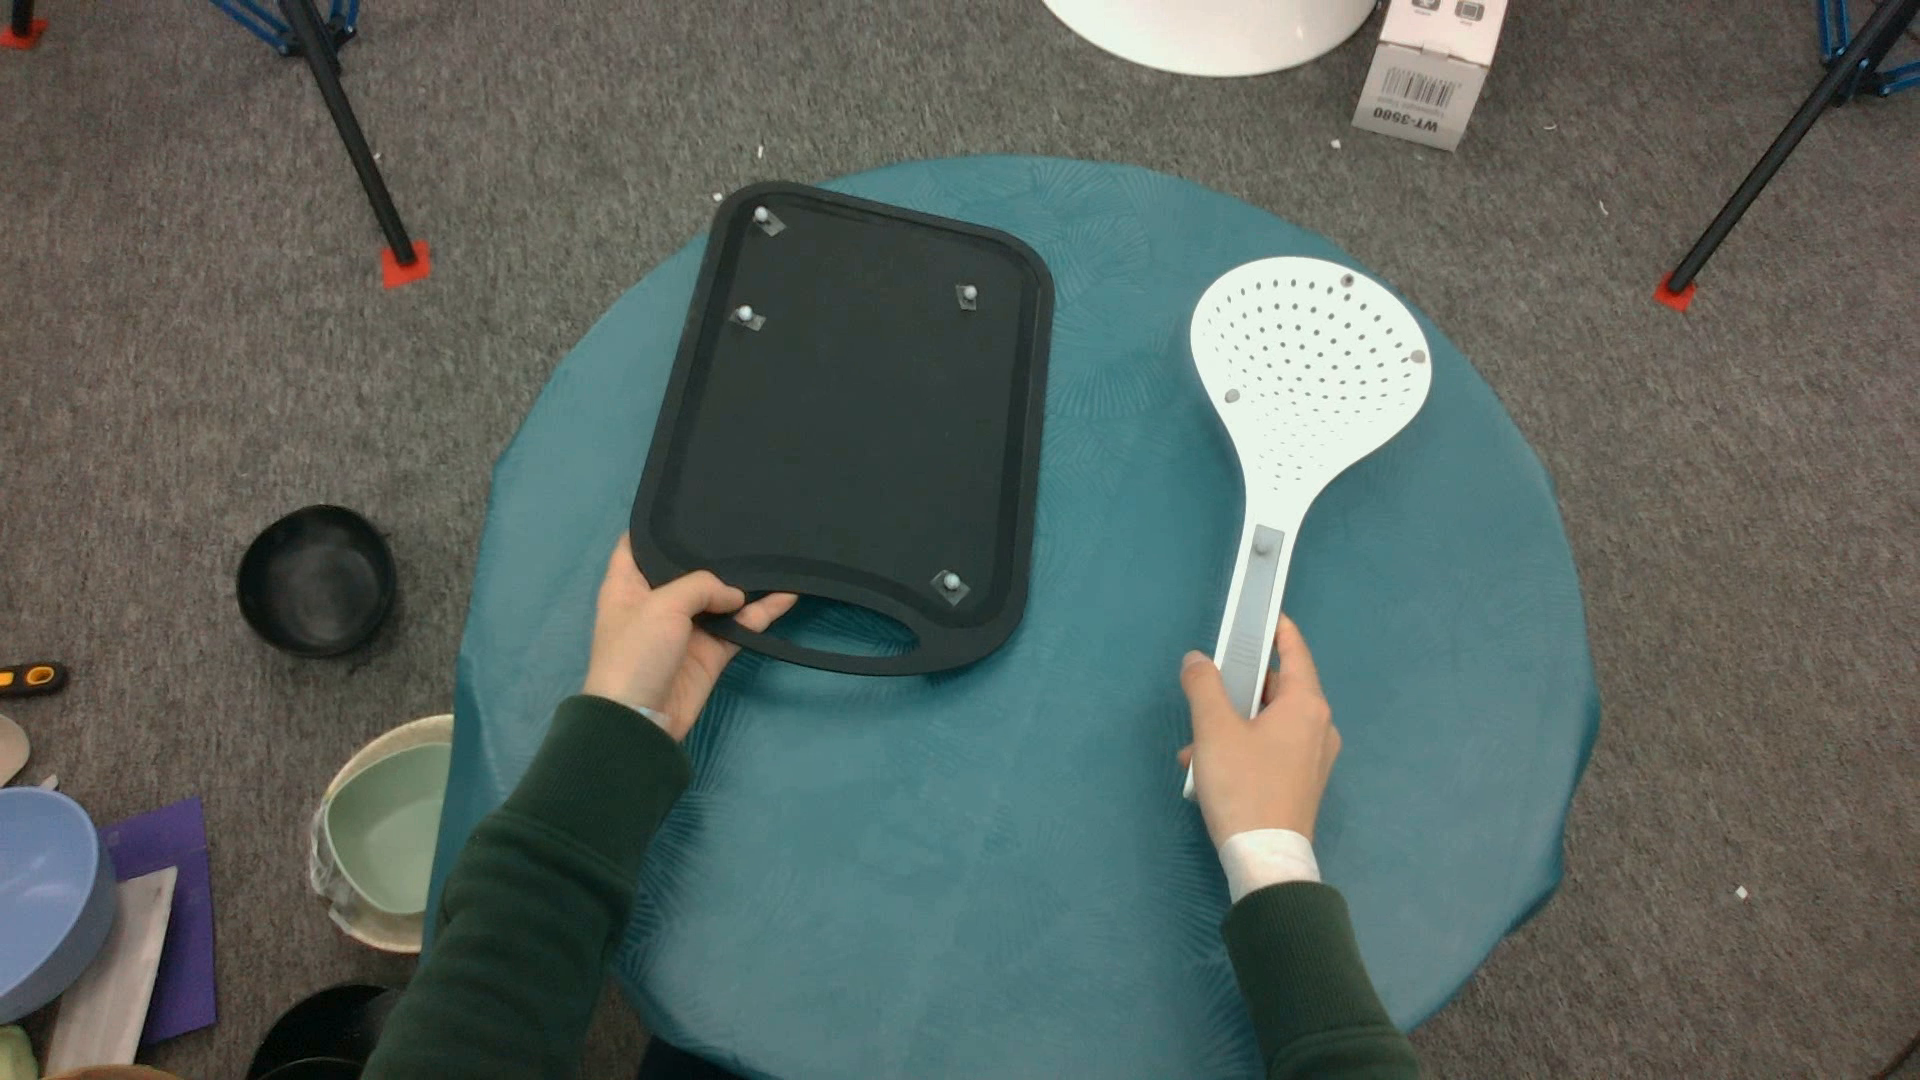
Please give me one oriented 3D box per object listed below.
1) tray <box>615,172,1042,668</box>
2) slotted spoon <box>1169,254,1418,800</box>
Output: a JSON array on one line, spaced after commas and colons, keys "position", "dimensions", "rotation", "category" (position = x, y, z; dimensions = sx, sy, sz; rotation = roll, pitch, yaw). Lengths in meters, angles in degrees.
[{"position": [-0.062, -0.077, 0.765], "dimensions": [0.211, 0.010, 0.327], "rotation": [12, 57, -7], "category": "tray"}, {"position": [0.162, -0.022, 0.733], "dimensions": [0.136, 0.045, 0.351], "rotation": [17, 54, 6], "category": "slotted spoon"}]
